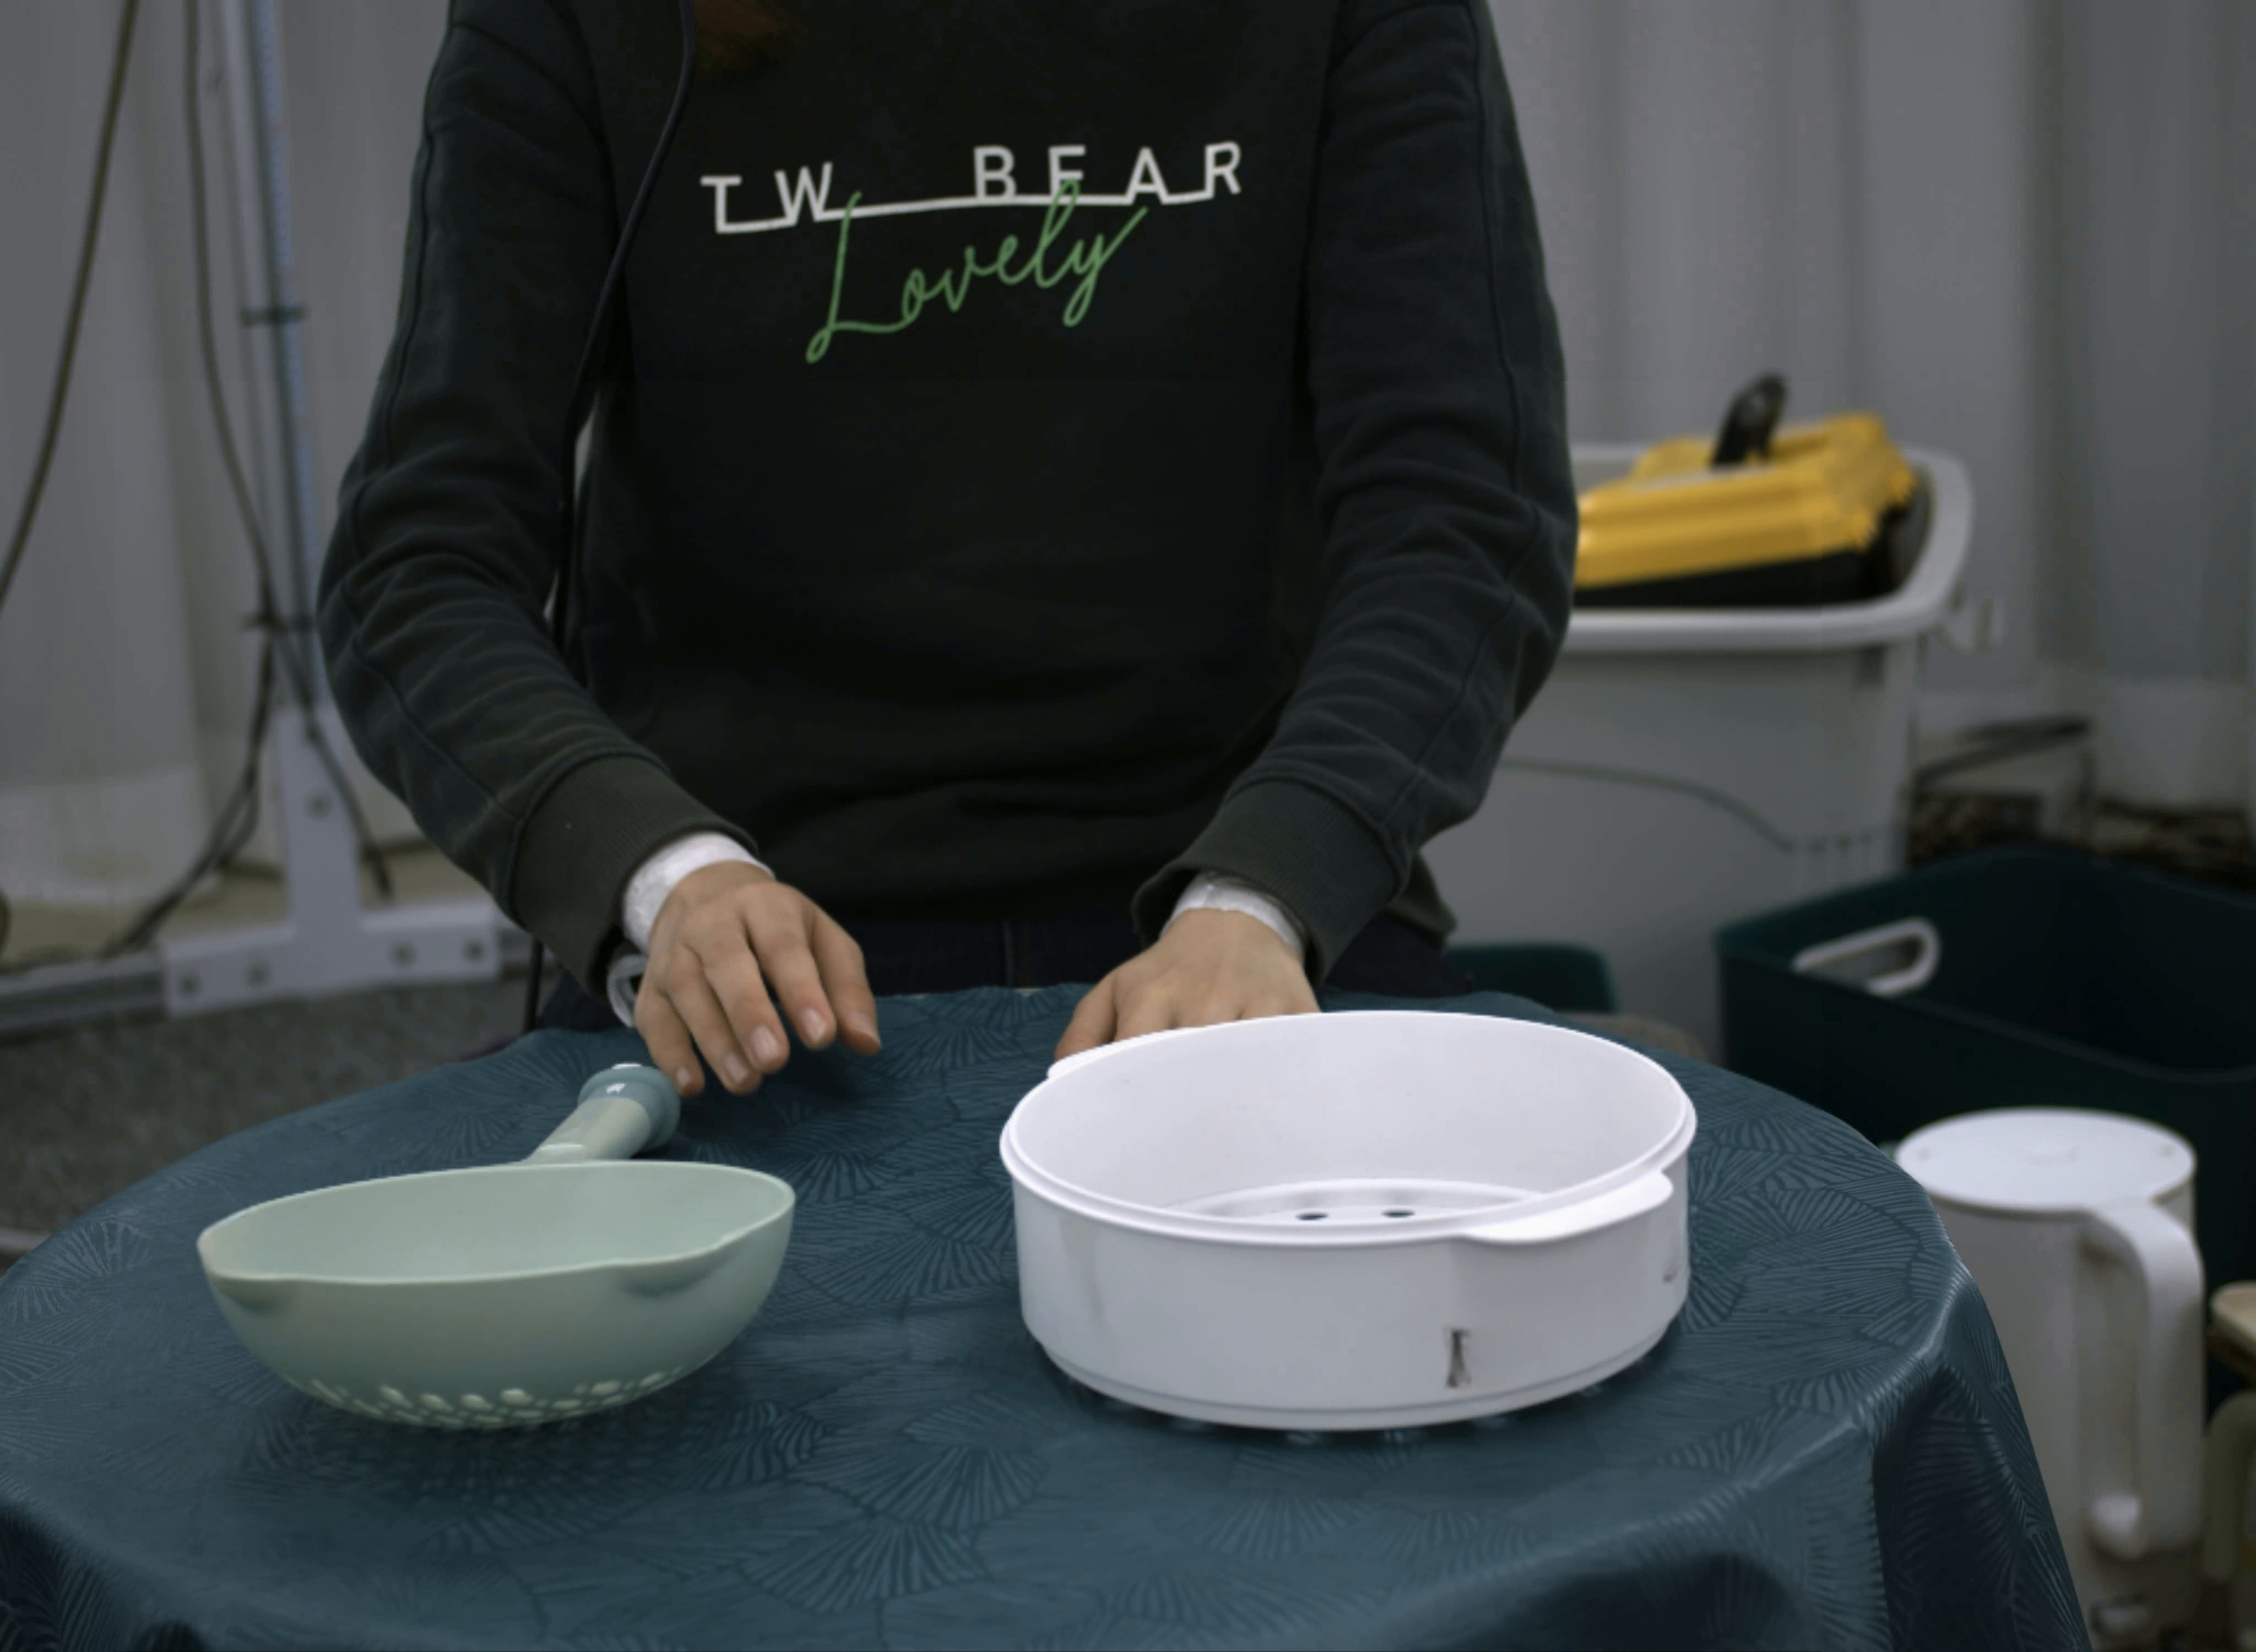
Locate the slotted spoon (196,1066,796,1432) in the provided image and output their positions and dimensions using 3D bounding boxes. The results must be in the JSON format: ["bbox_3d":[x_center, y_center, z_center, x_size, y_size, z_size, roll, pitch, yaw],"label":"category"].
[{"bbox_3d":[-0.170,0.111,1.638,0.169,0.075,0.361,-2,15,4],"label":"slotted spoon"}]

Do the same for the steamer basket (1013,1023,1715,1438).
[{"bbox_3d":[0.068,0.116,1.571,0.201,0.069,0.232,-13,18,-35],"label":"steamer basket"}]
